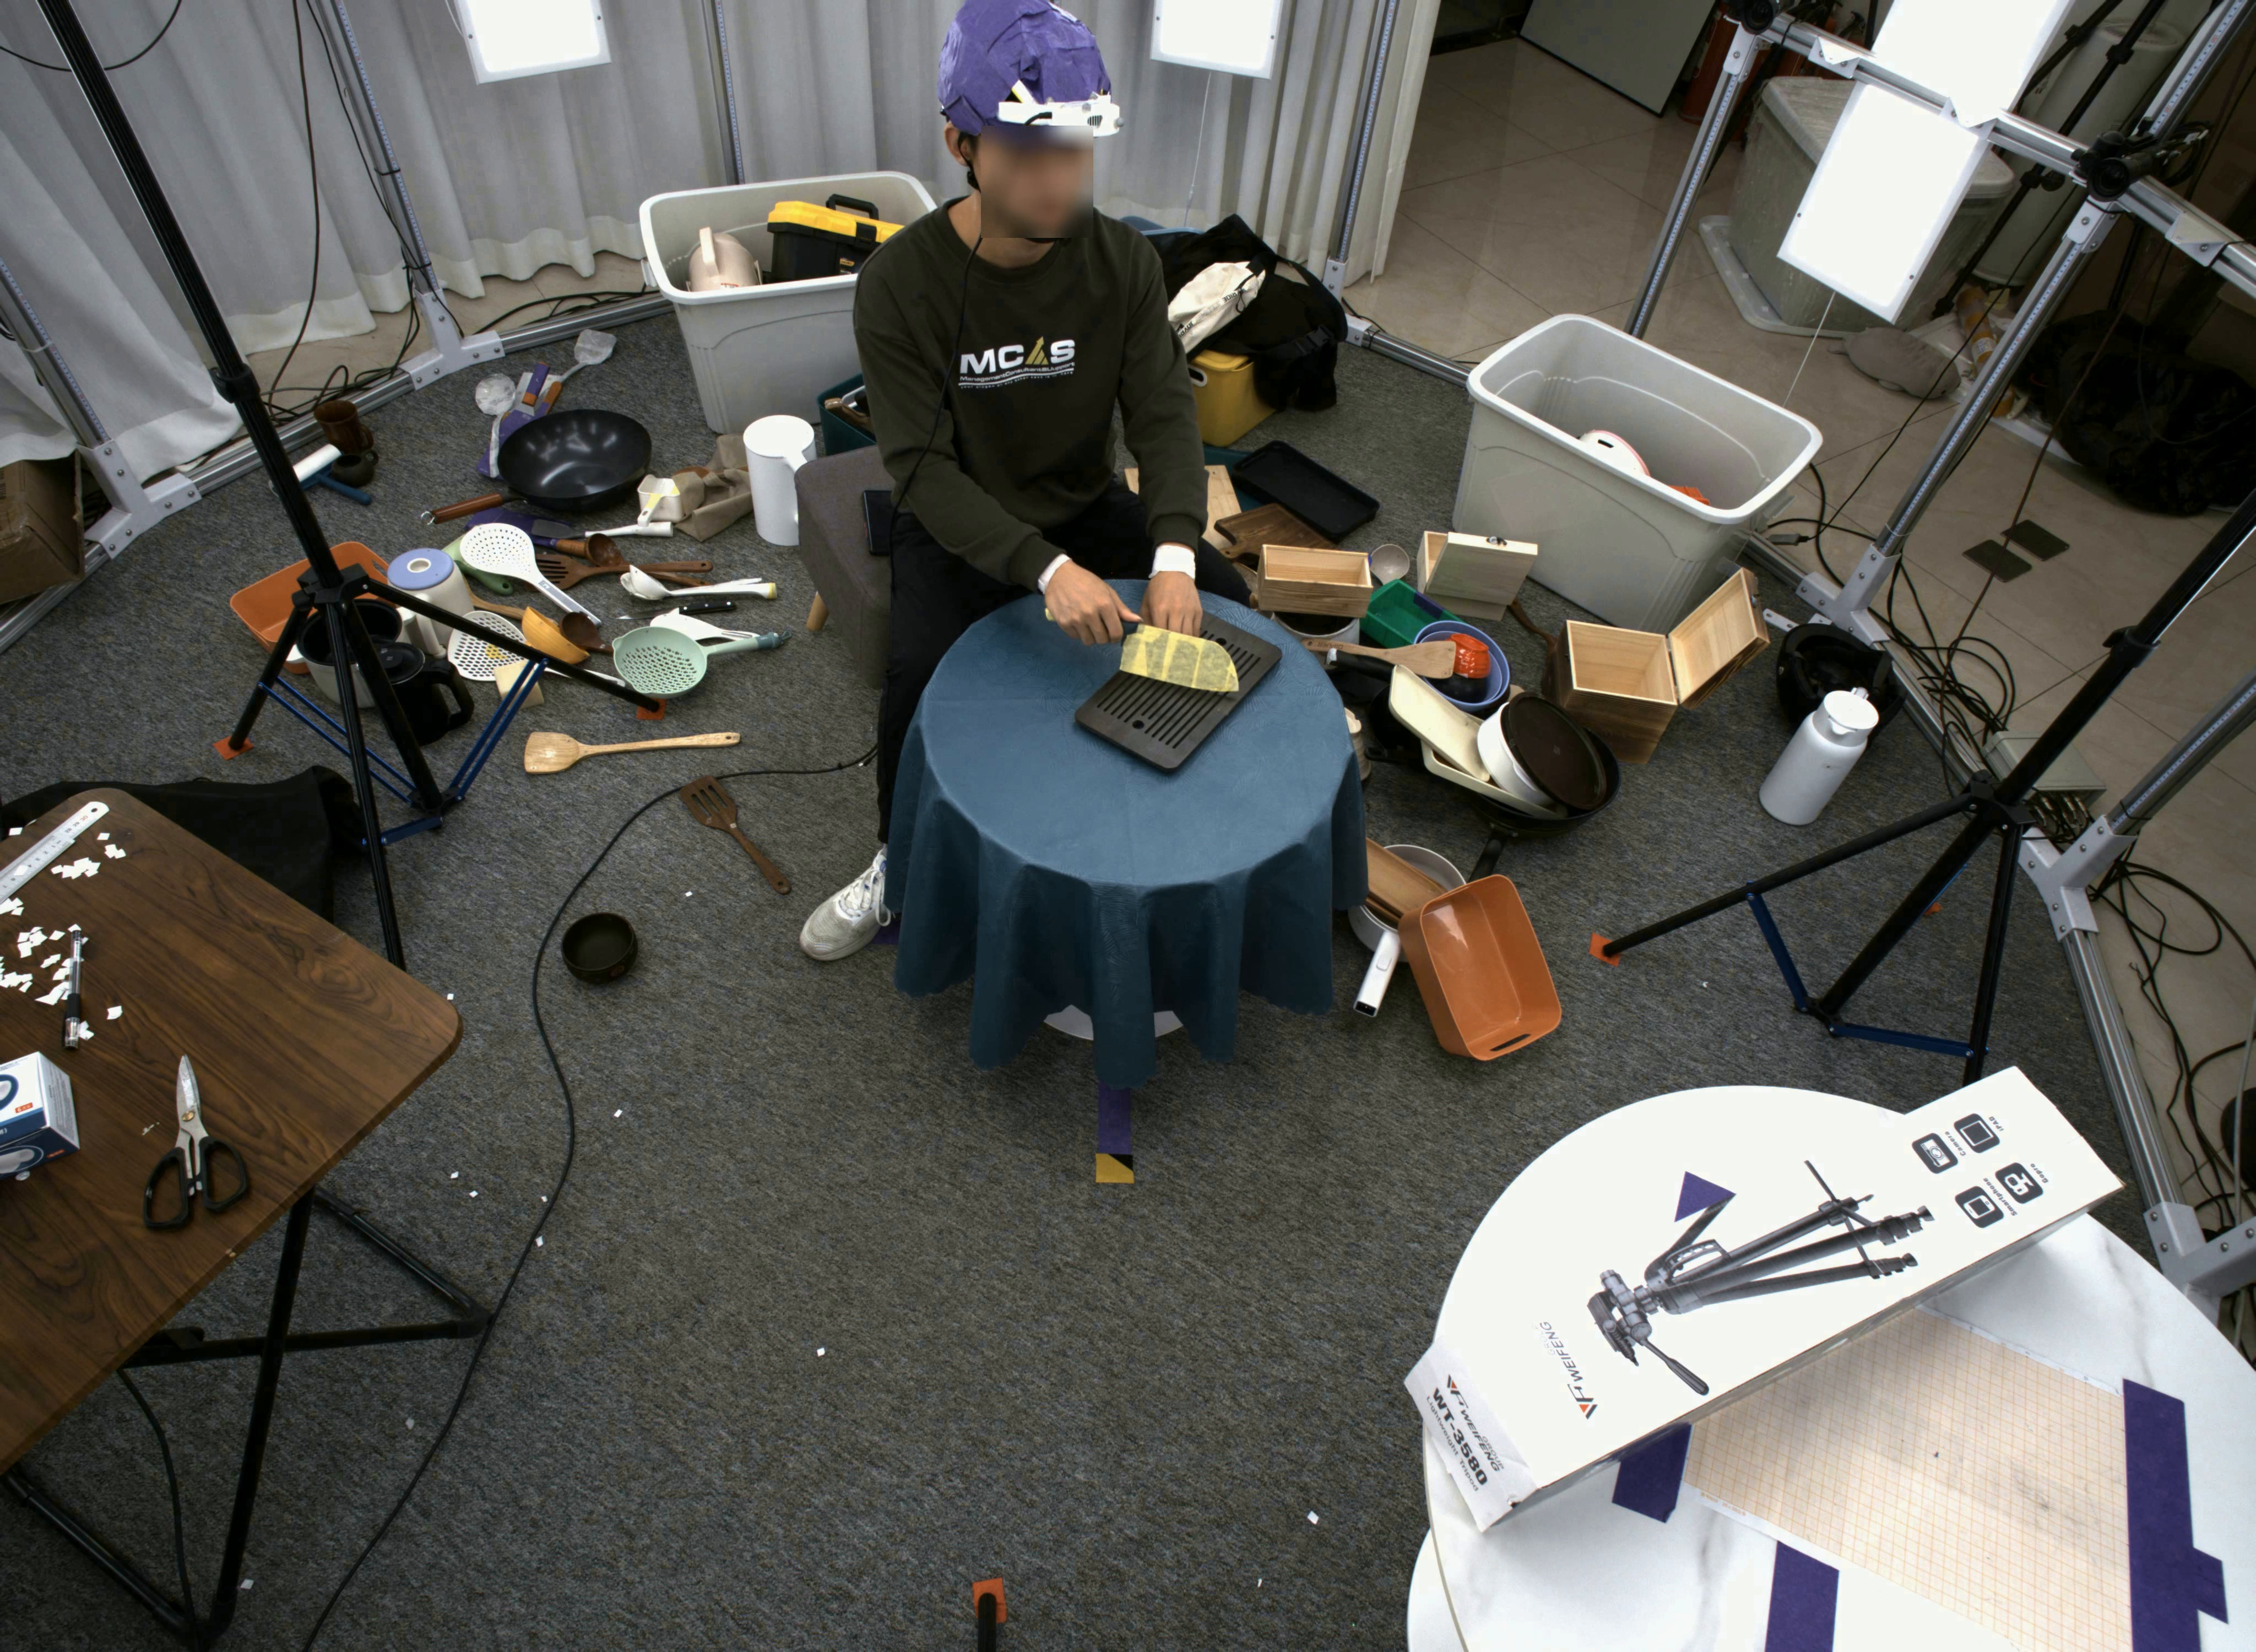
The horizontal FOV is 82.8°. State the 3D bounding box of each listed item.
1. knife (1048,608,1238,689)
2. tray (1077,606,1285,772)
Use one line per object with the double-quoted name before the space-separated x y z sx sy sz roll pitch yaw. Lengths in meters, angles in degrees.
"knife" 0.020 -0.254 1.825 0.290 0.080 0.027 18 17 9
"tray" 0.079 -0.199 1.833 0.172 0.018 0.310 29 53 20
